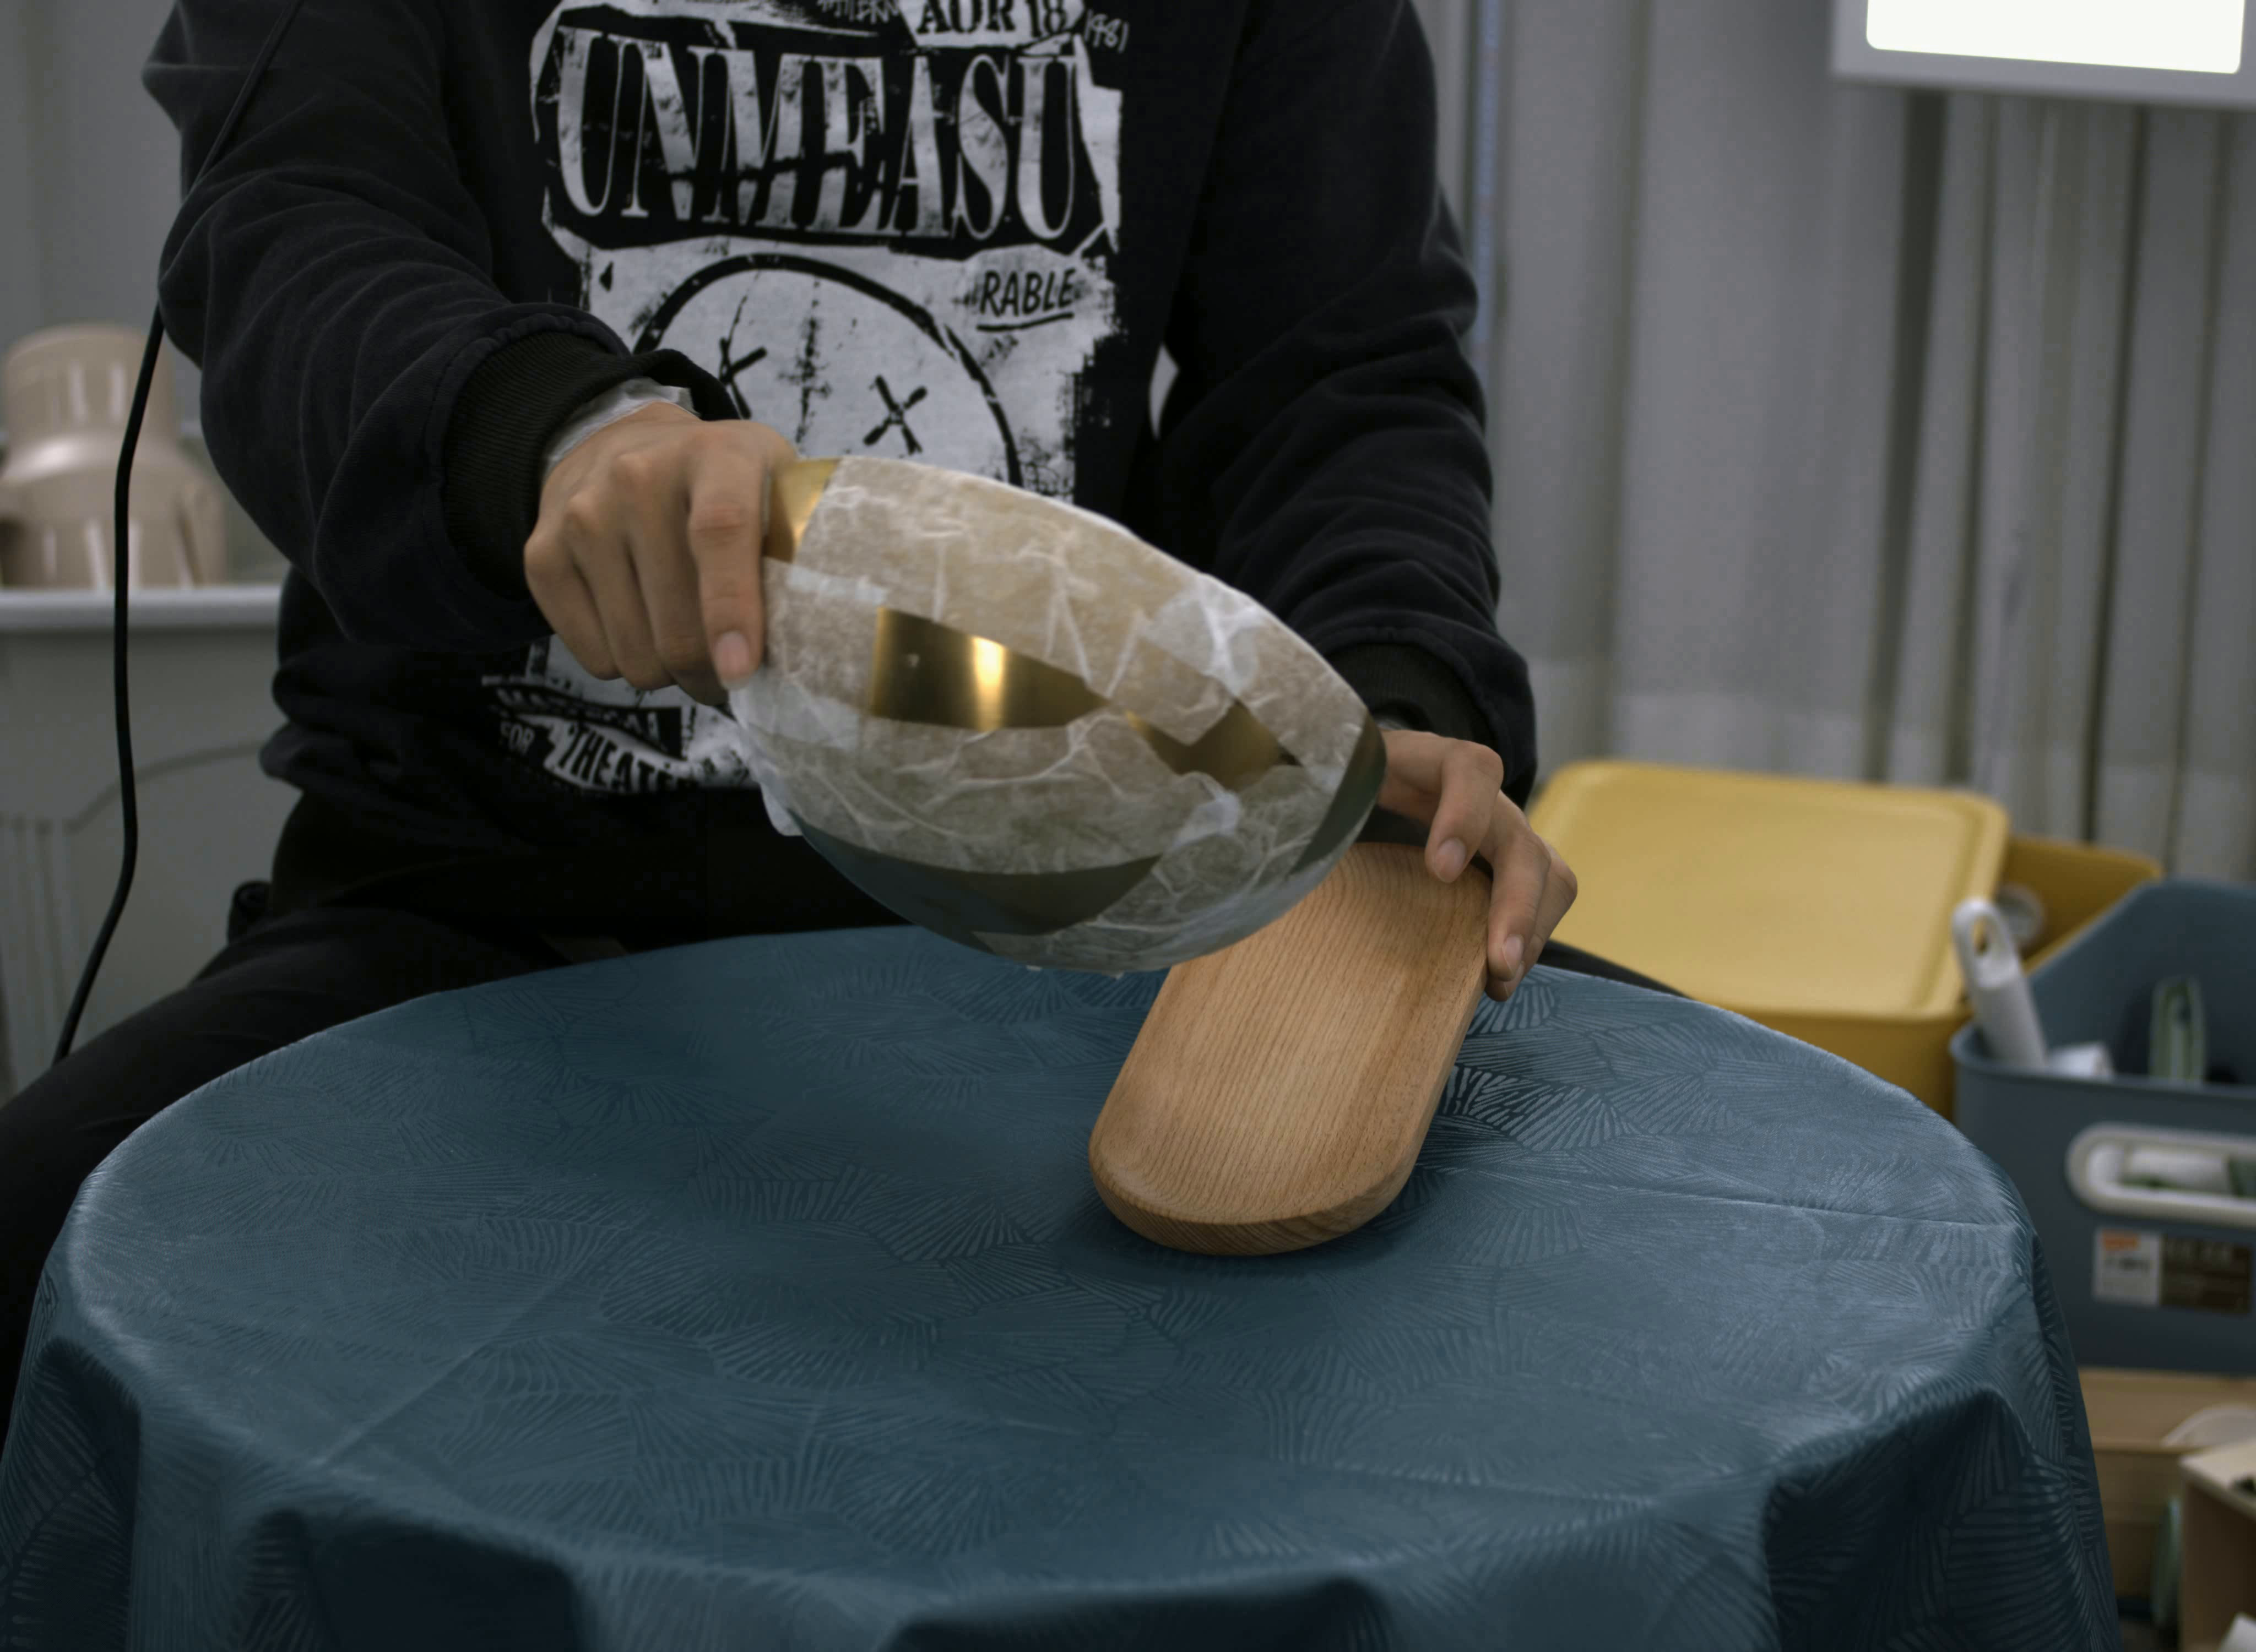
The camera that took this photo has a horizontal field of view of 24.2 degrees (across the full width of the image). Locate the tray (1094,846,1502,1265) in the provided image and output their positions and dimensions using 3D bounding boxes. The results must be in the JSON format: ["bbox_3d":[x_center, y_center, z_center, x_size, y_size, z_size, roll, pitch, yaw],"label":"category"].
[{"bbox_3d":[0.056,0.069,1.656,0.101,0.020,0.230,1,31,15],"label":"tray"}]

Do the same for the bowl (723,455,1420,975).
[{"bbox_3d":[-0.032,-0.014,1.511,0.213,0.094,0.216,21,-16,7],"label":"bowl"}]
